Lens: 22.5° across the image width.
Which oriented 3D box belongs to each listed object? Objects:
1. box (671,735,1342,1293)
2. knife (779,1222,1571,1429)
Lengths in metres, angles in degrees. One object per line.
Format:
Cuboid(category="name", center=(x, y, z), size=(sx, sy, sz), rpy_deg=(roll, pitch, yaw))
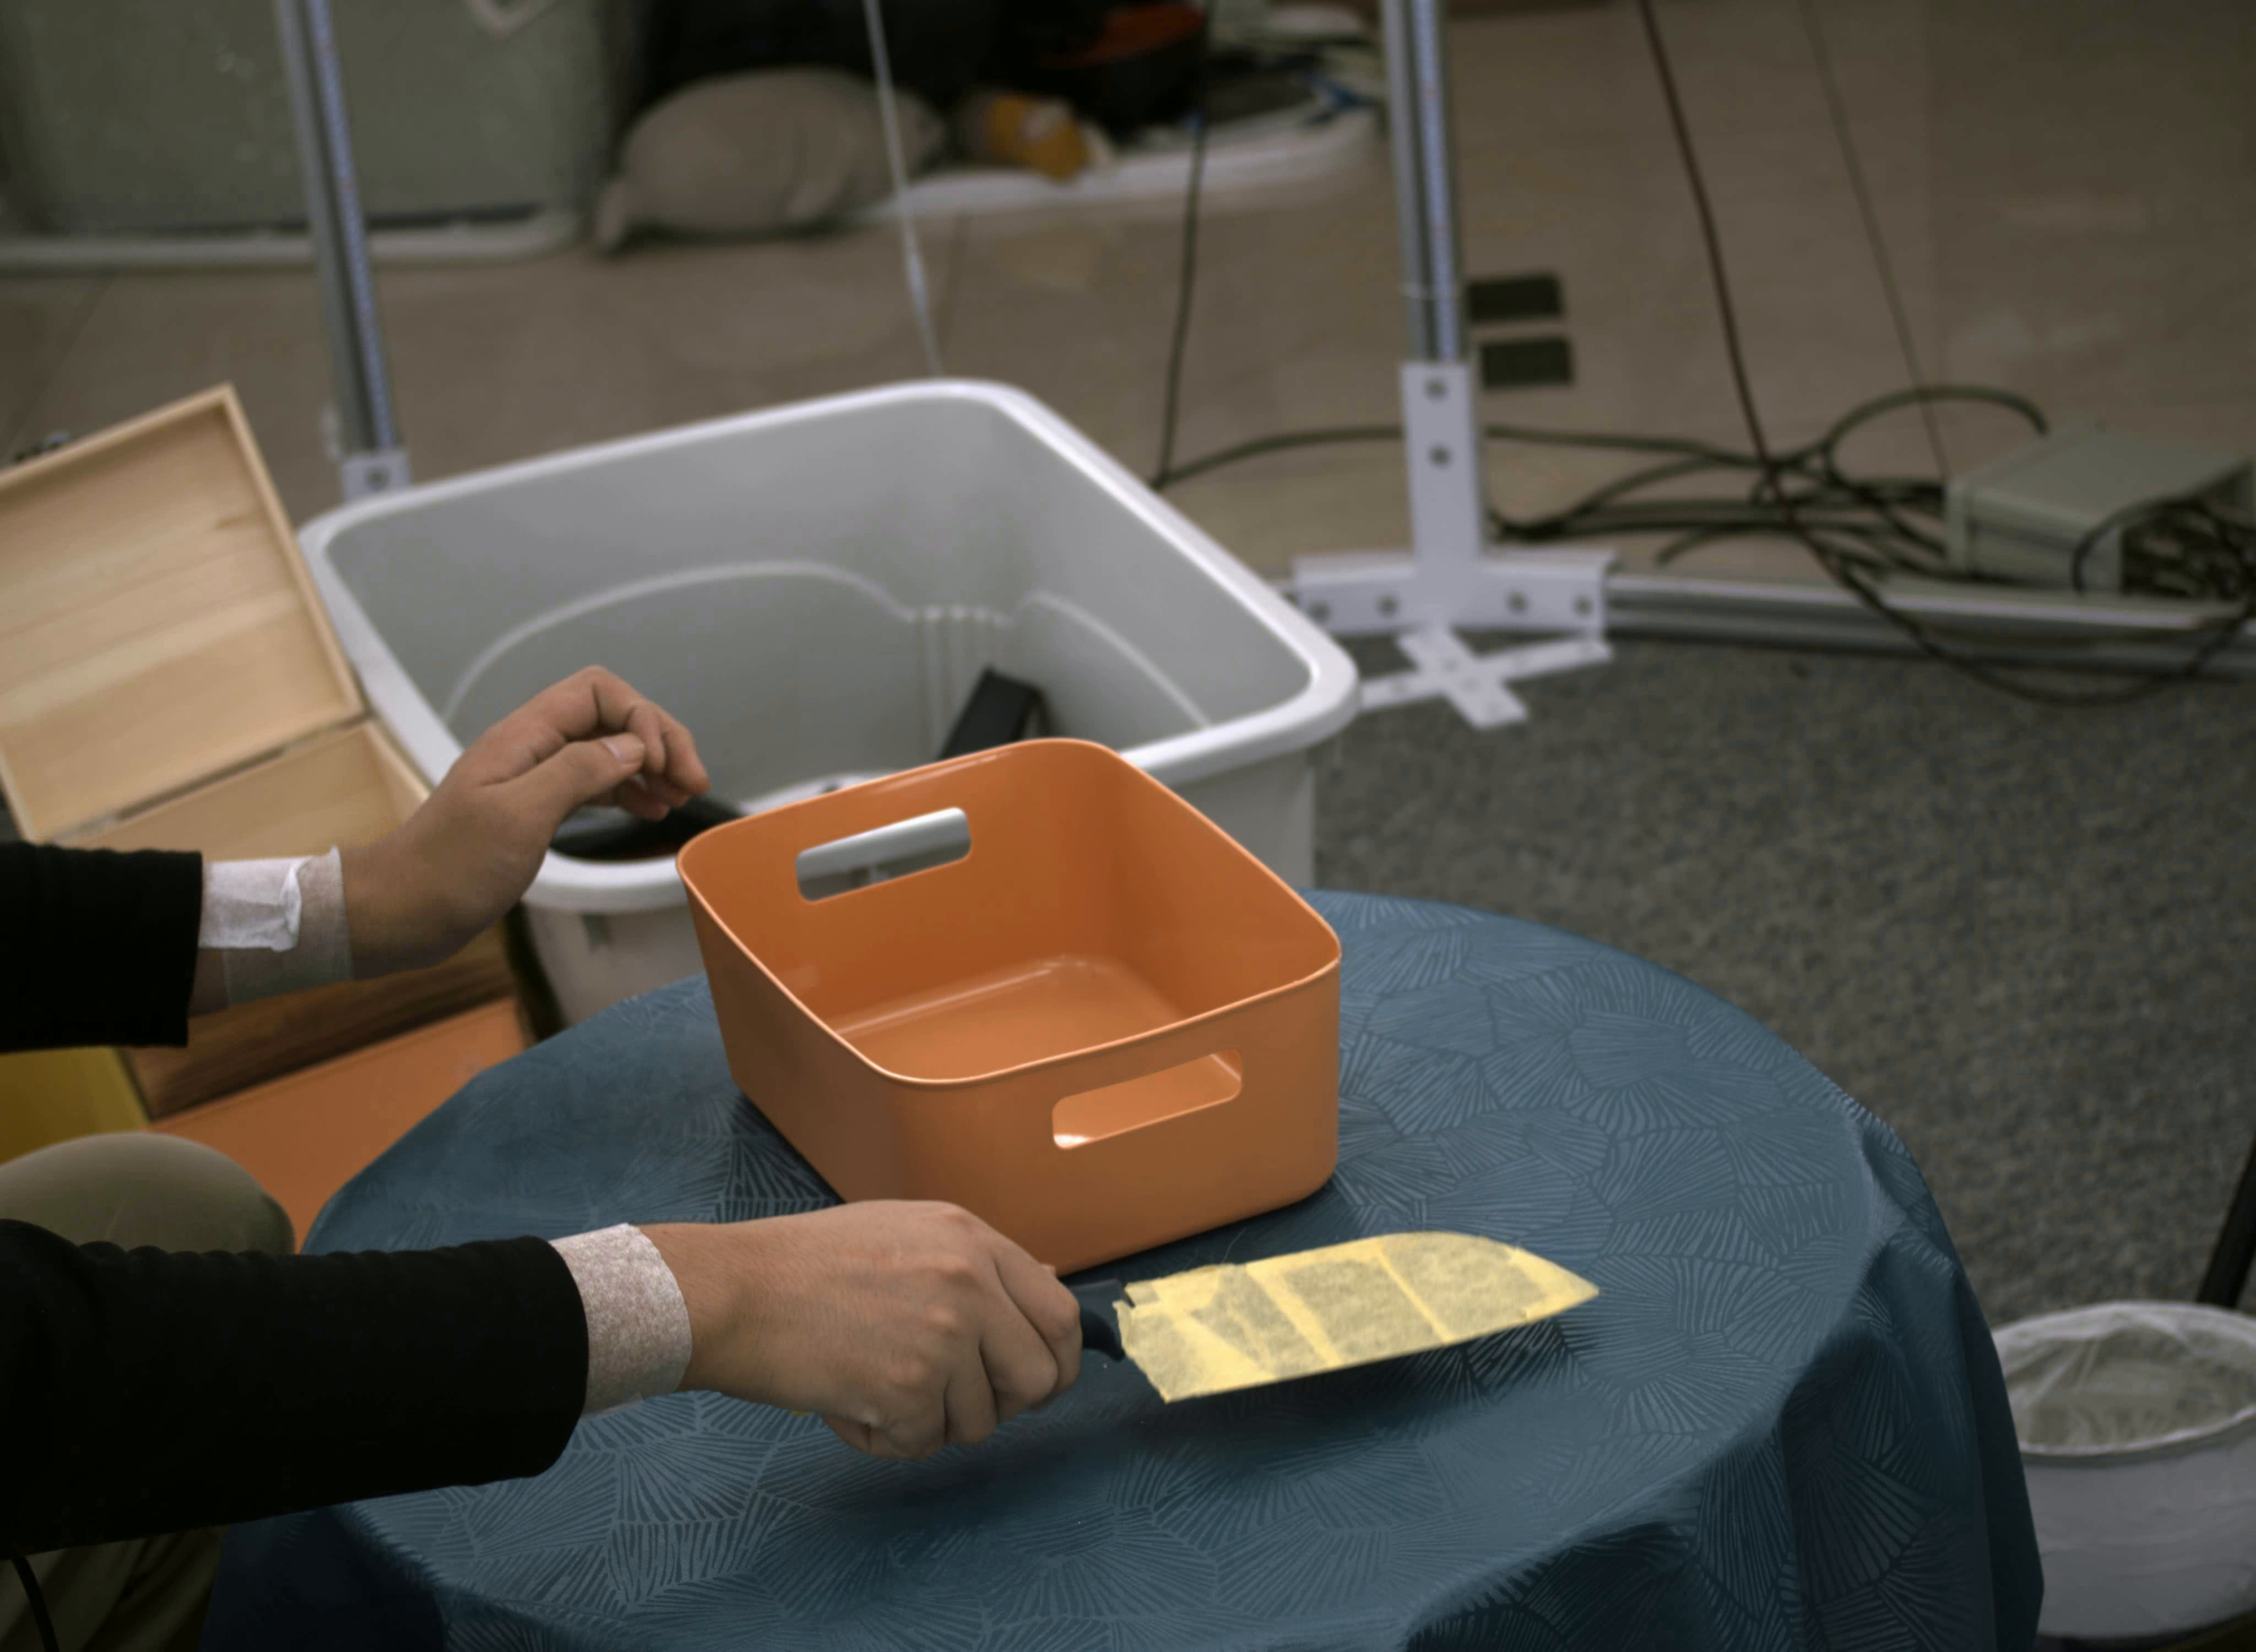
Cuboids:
Cuboid(category="box", center=(-0.047, 0.072, 2.179), size=(0.198, 0.104, 0.270), rpy_deg=(-15, 27, -20))
Cuboid(category="knife", center=(0.021, 0.176, 1.981), size=(0.288, 0.027, 0.080), rpy_deg=(-10, 26, -16))
